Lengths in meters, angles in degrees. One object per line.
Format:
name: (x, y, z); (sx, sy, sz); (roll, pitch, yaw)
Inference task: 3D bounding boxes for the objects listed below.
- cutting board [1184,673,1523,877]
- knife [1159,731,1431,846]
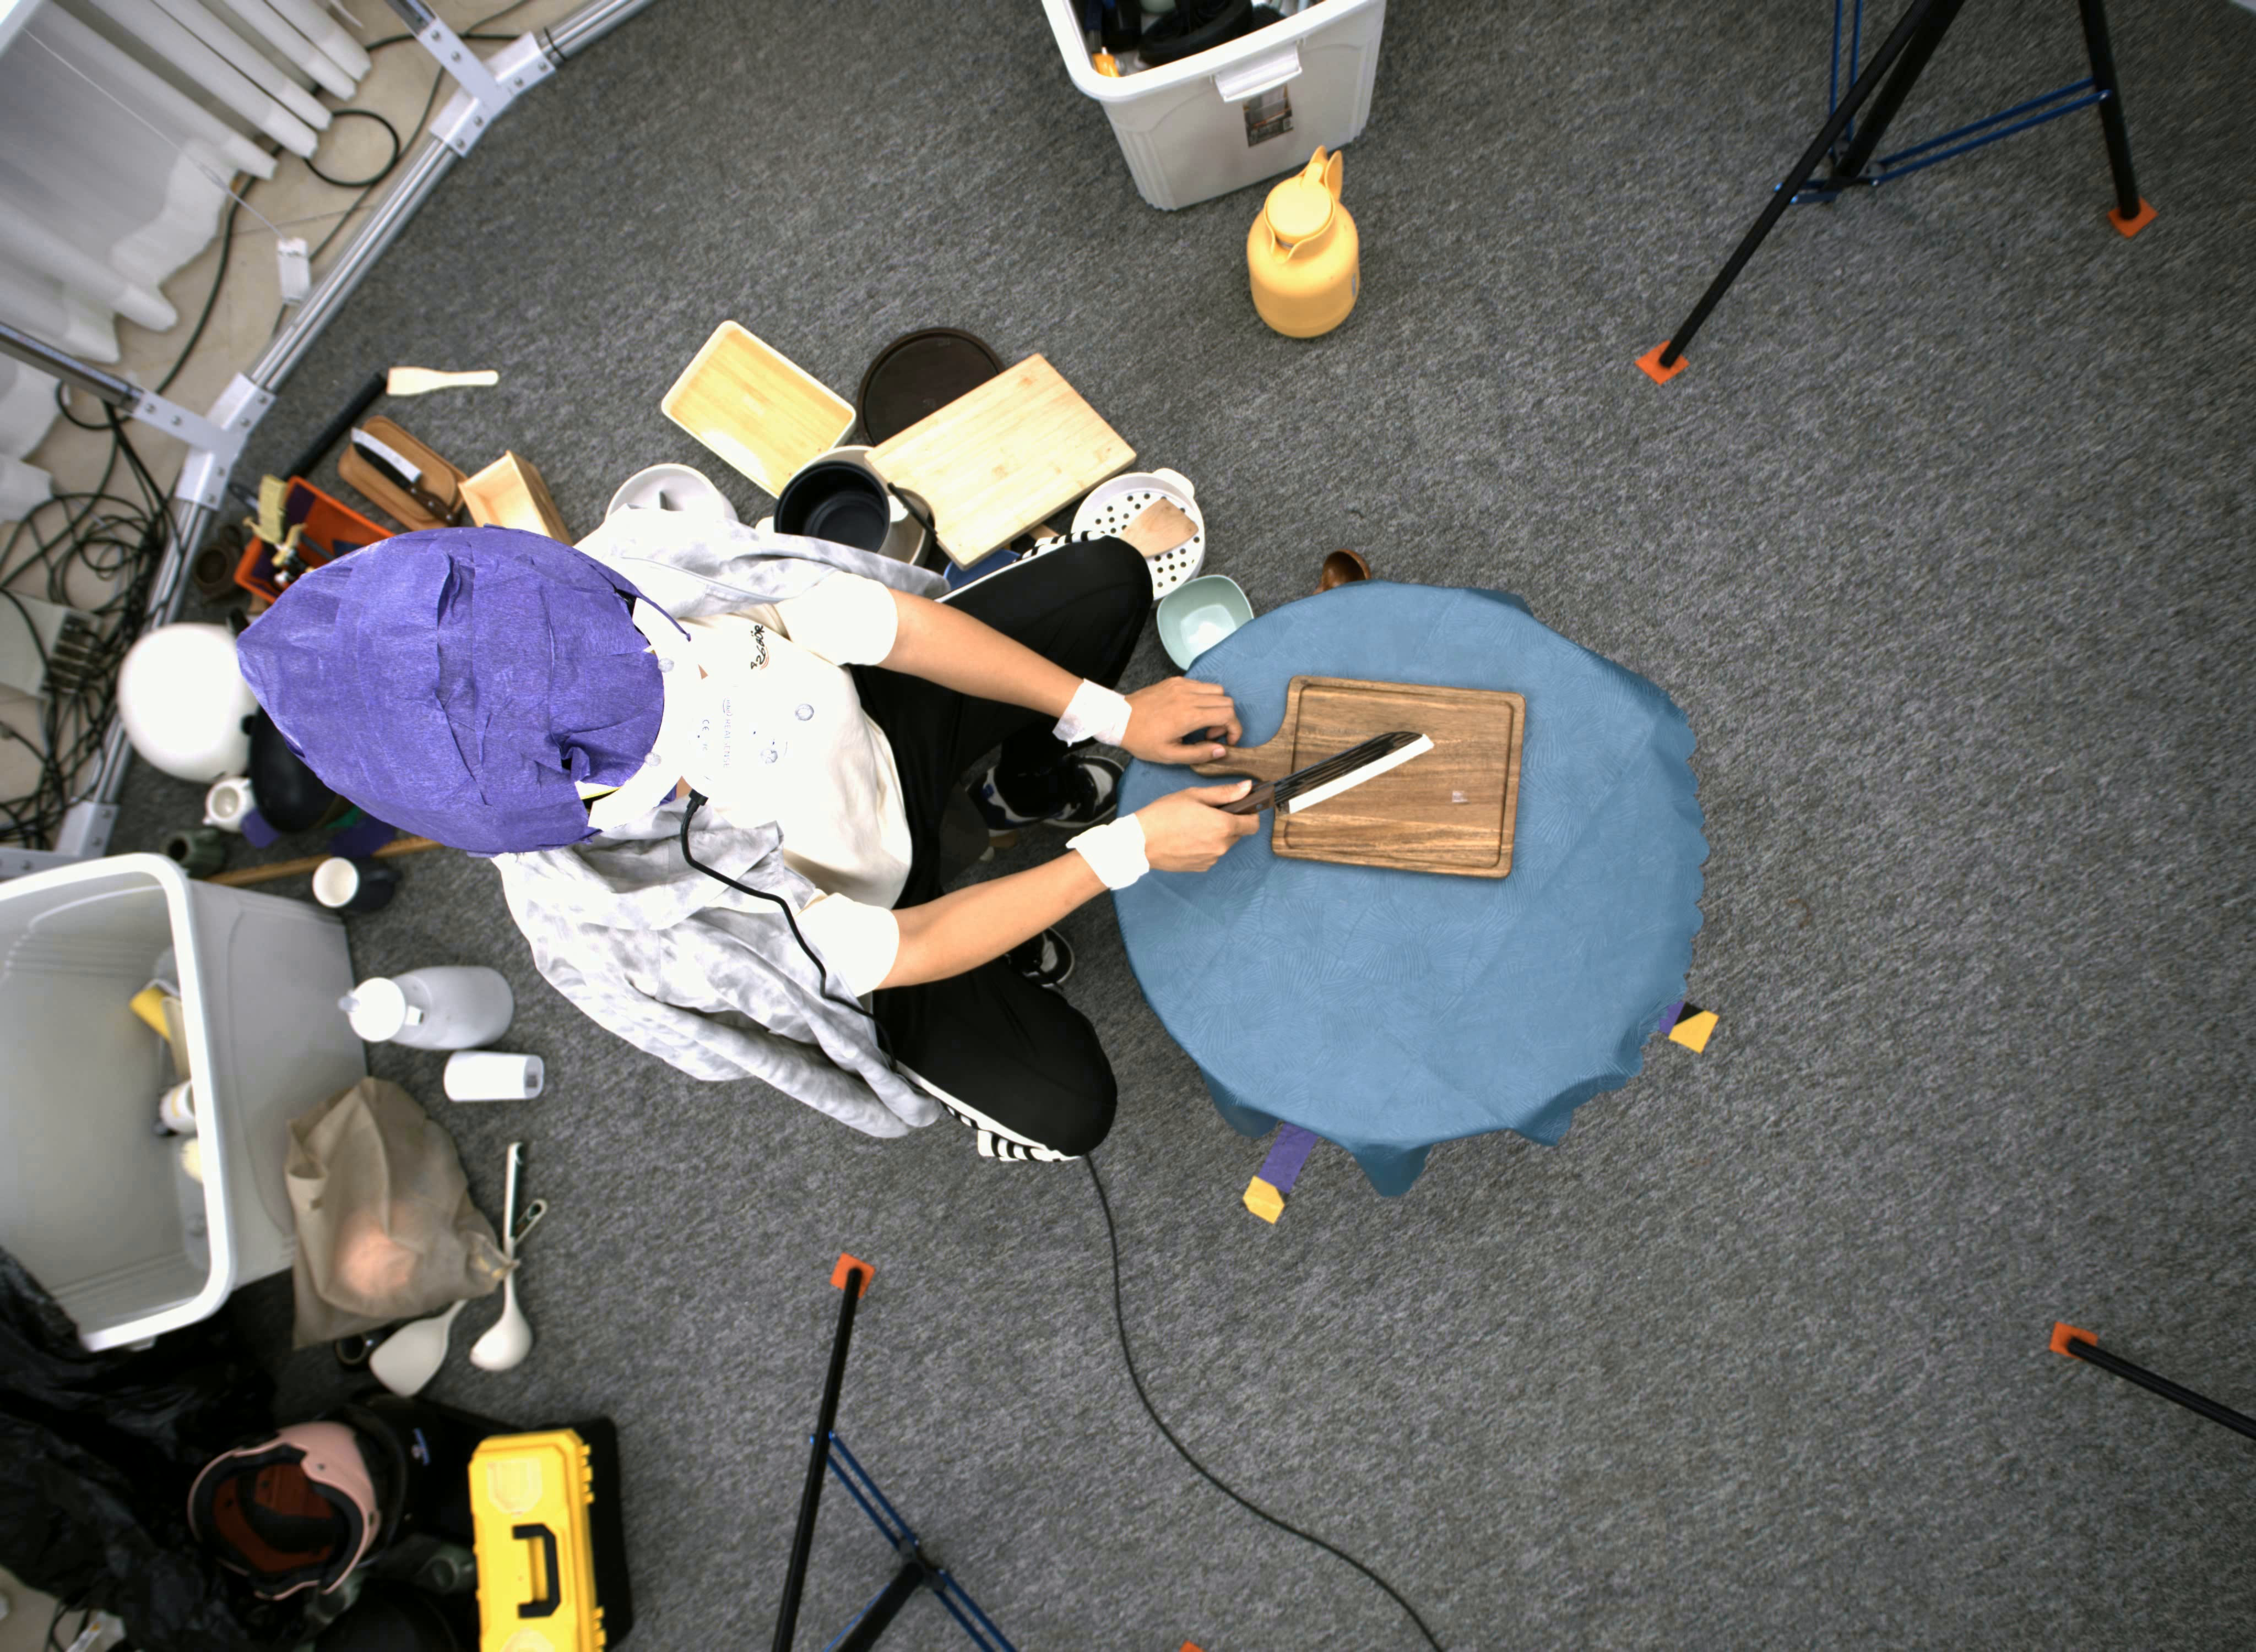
cutting board: (0.234, -0.061, 1.462); (0.353, 0.023, 0.200); (6, 88, 11)
knife: (0.175, -0.038, 1.425); (0.300, 0.069, 0.023); (-24, 56, 2)
